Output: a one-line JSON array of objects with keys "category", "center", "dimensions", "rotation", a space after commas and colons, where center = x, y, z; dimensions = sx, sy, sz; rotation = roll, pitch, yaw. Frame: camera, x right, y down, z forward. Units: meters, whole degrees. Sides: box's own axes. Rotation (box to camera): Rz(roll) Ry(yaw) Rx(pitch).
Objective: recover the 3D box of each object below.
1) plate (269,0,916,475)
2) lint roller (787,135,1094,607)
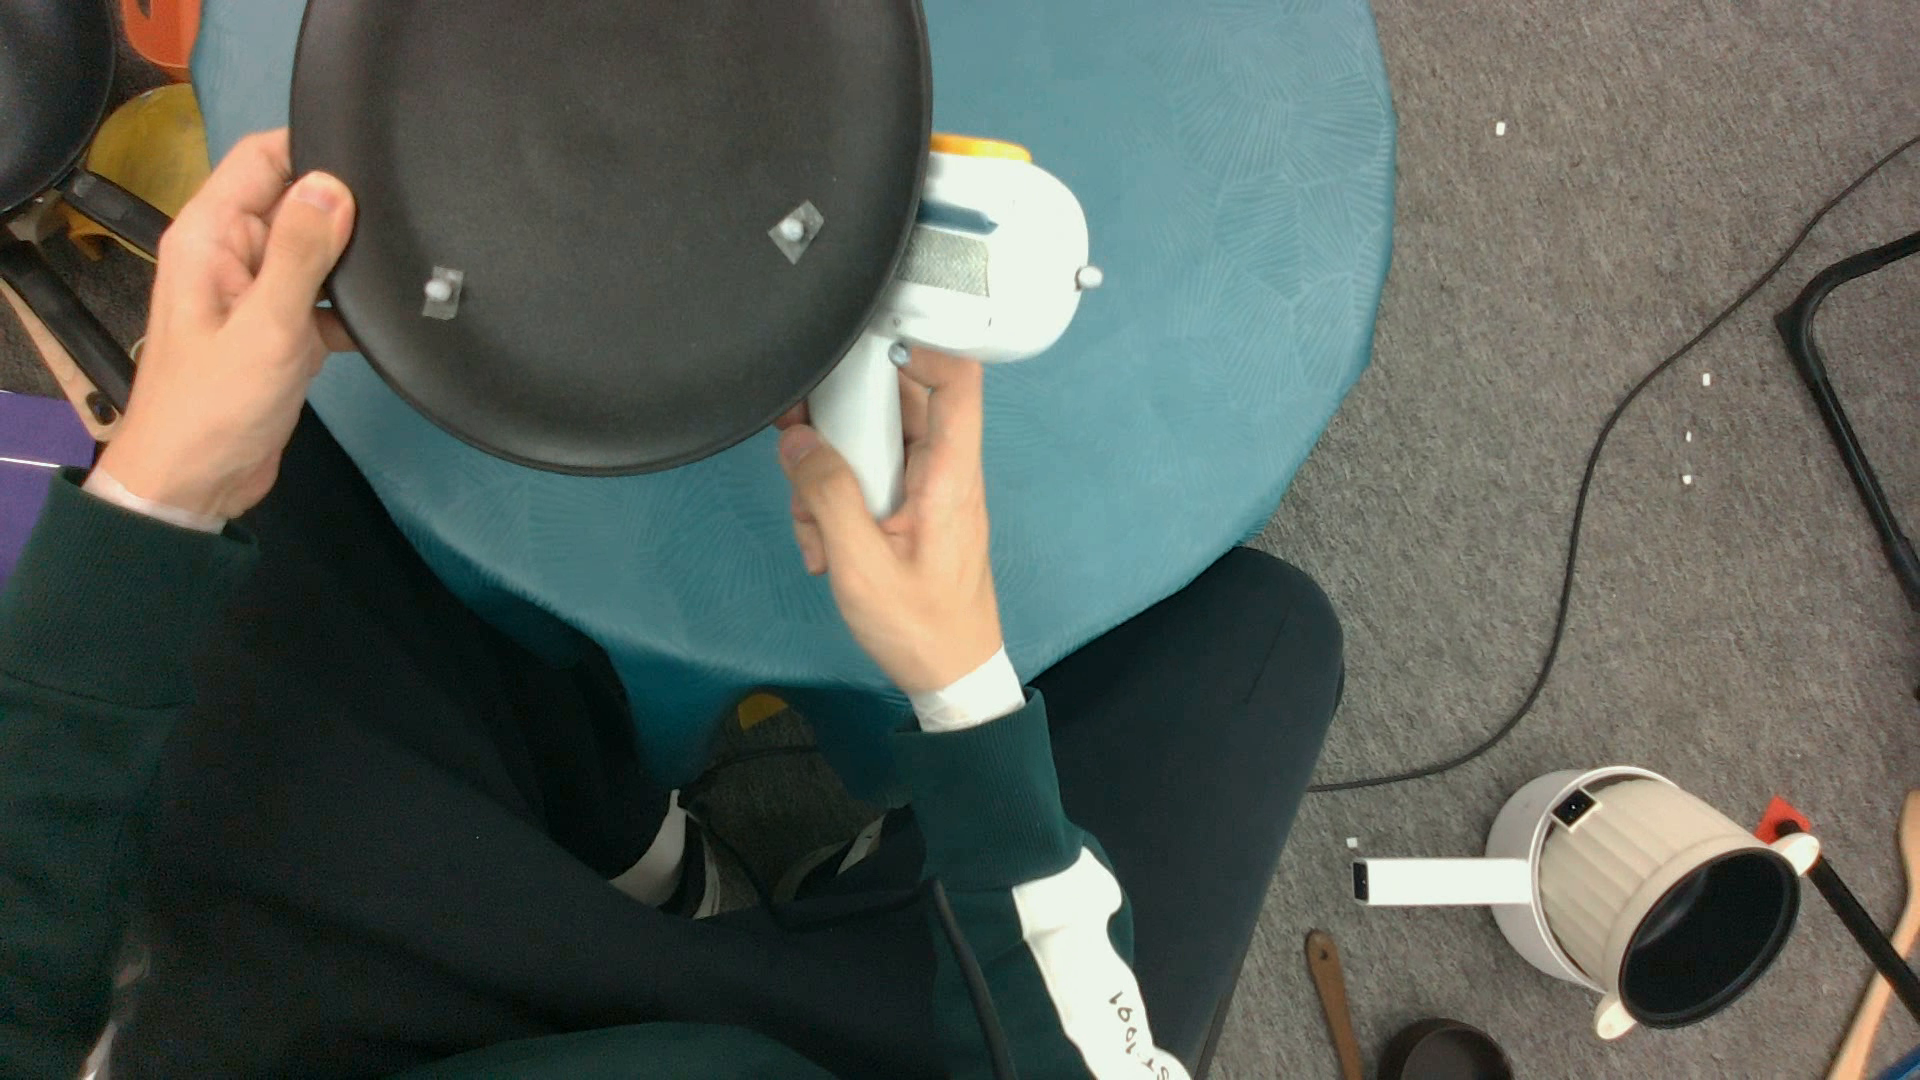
[{"category": "plate", "center": [-0.129, -0.144, 0.476], "dimensions": [0.244, 0.023, 0.244], "rotation": [1, 95, 14]}, {"category": "lint roller", "center": [-0.045, -0.060, 0.521], "dimensions": [0.192, 0.074, 0.192], "rotation": [20, 111, 27]}]
